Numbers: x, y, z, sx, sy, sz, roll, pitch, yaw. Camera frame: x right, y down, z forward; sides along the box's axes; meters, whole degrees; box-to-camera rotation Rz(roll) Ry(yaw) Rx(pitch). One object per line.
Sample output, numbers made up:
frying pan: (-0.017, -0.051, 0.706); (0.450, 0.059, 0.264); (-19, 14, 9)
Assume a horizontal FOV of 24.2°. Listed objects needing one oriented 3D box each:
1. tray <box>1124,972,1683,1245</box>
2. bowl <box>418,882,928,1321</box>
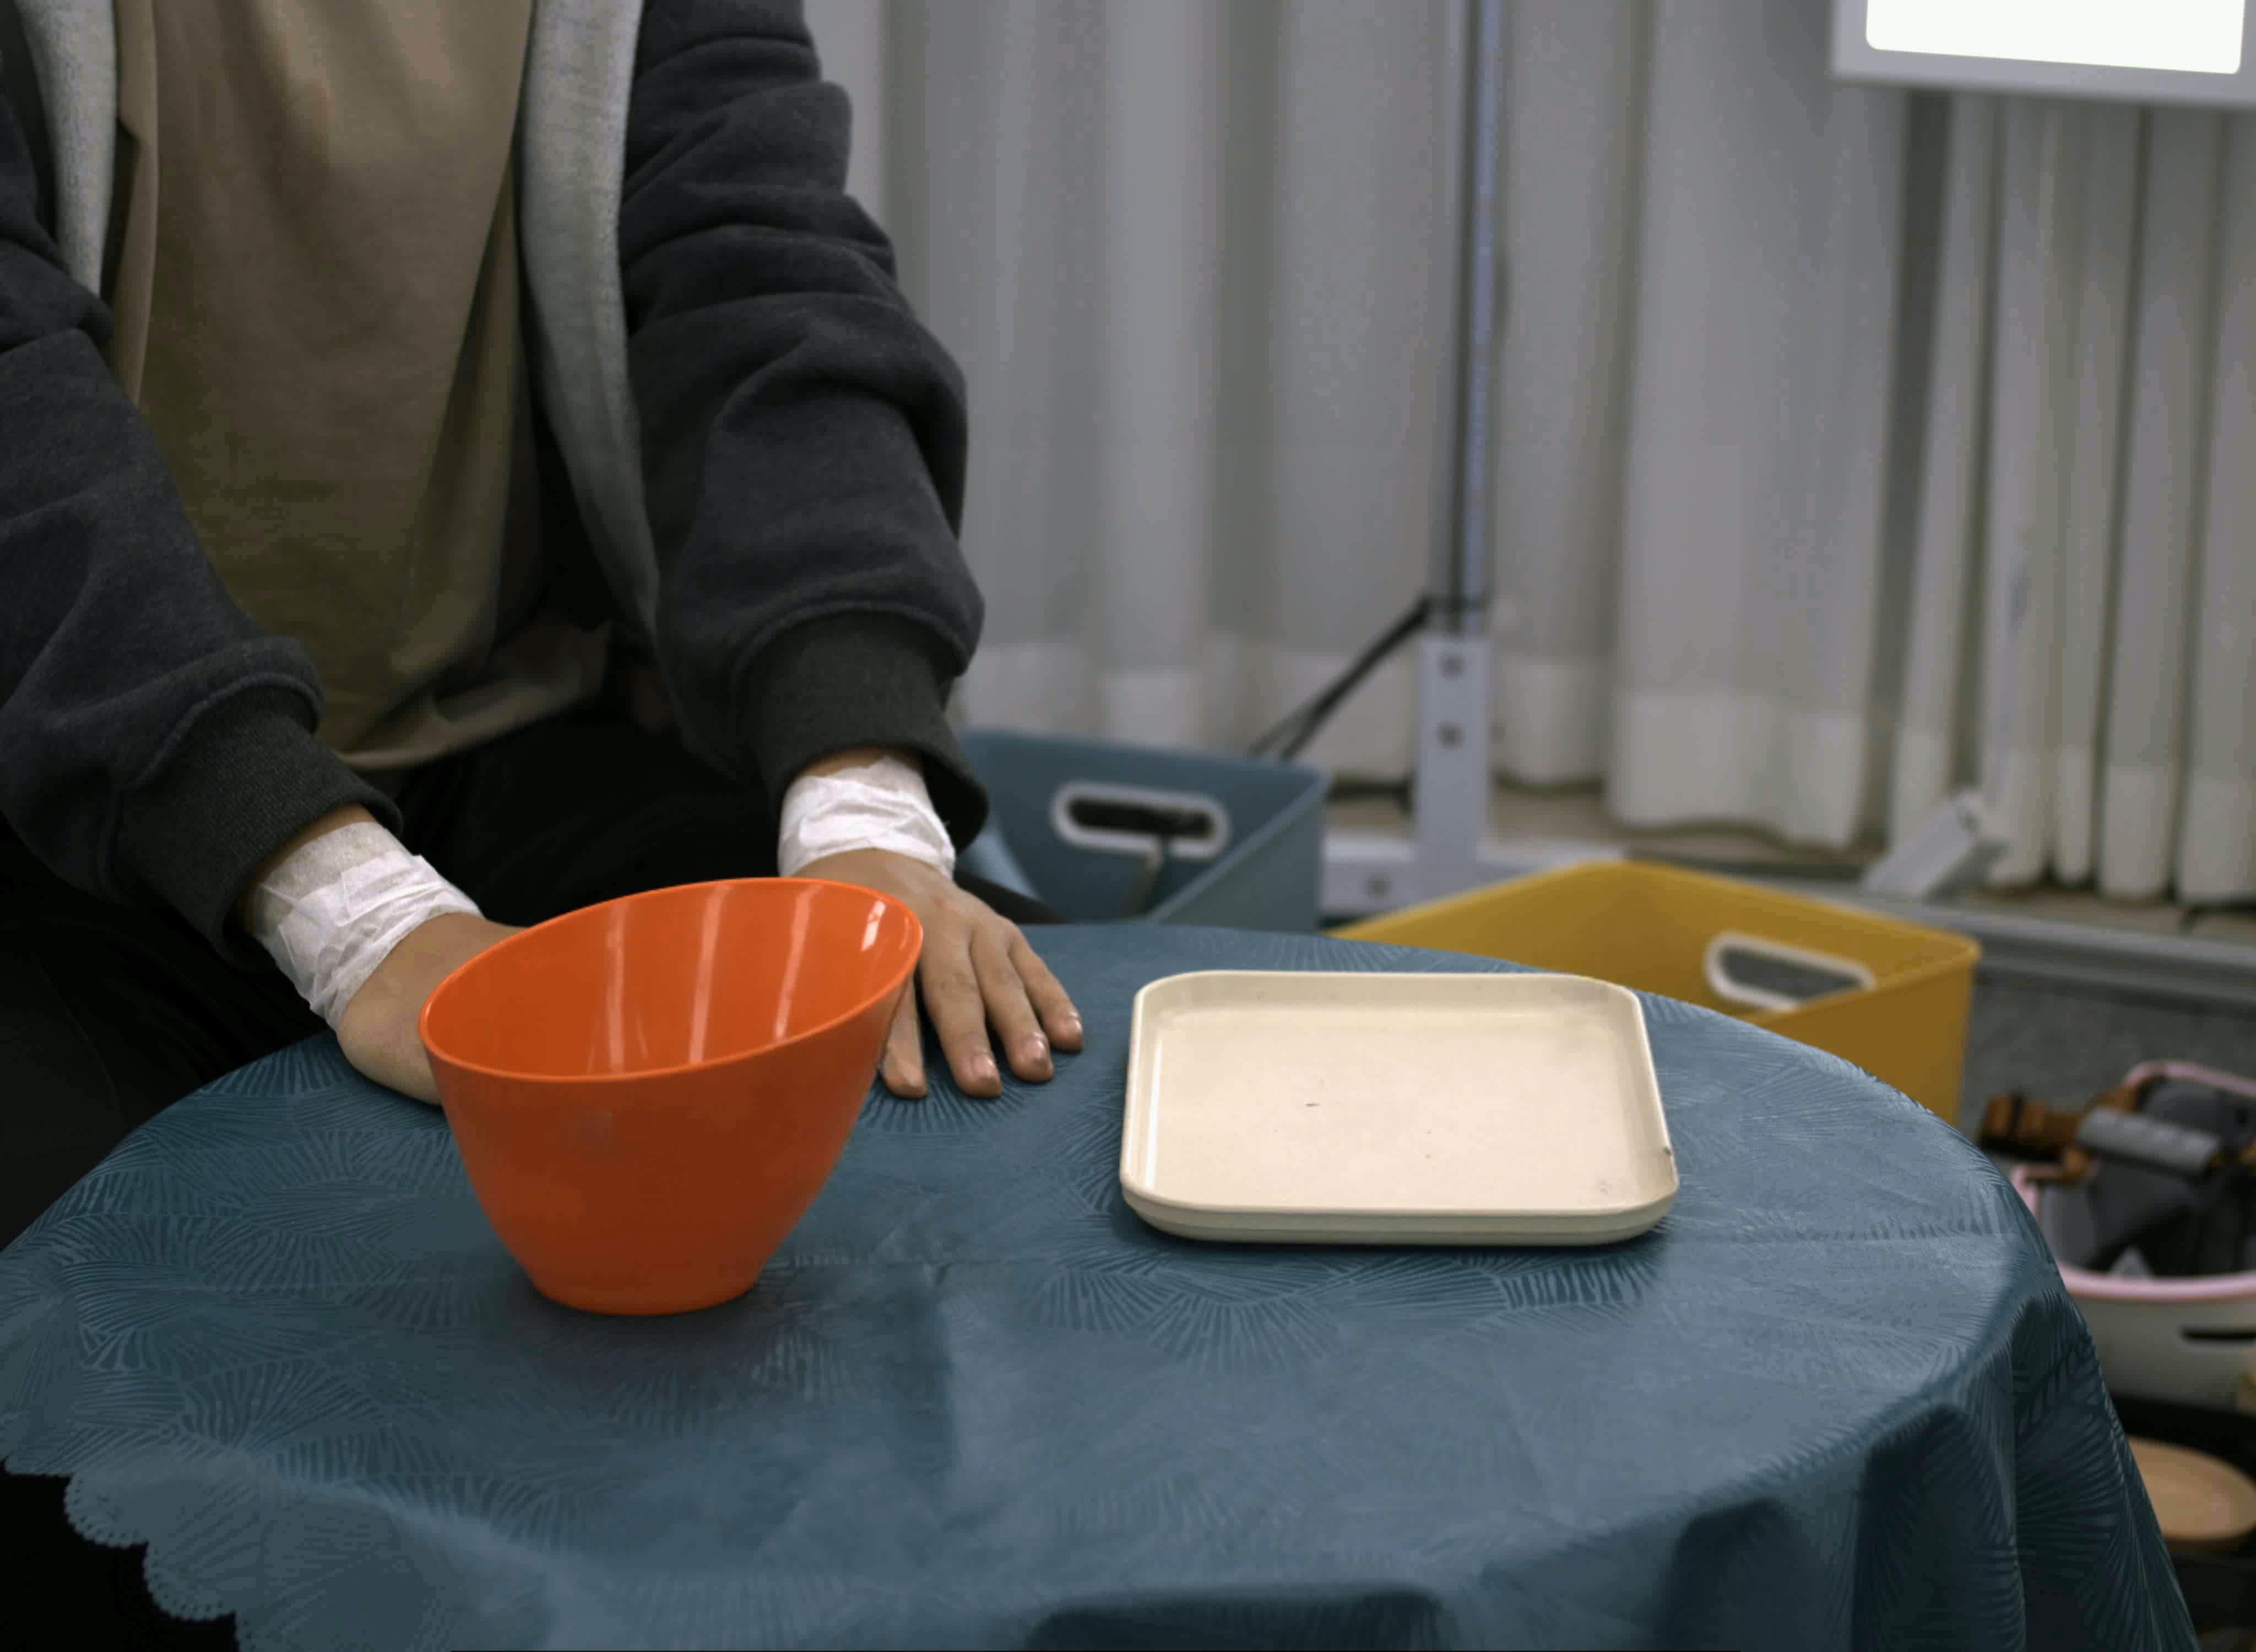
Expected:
tray: (0.085, 0.089, 1.677); (0.170, 0.017, 0.238); (0, 16, 1)
bowl: (-0.132, 0.083, 1.534); (0.147, 0.105, 0.147); (2, 17, 0)
